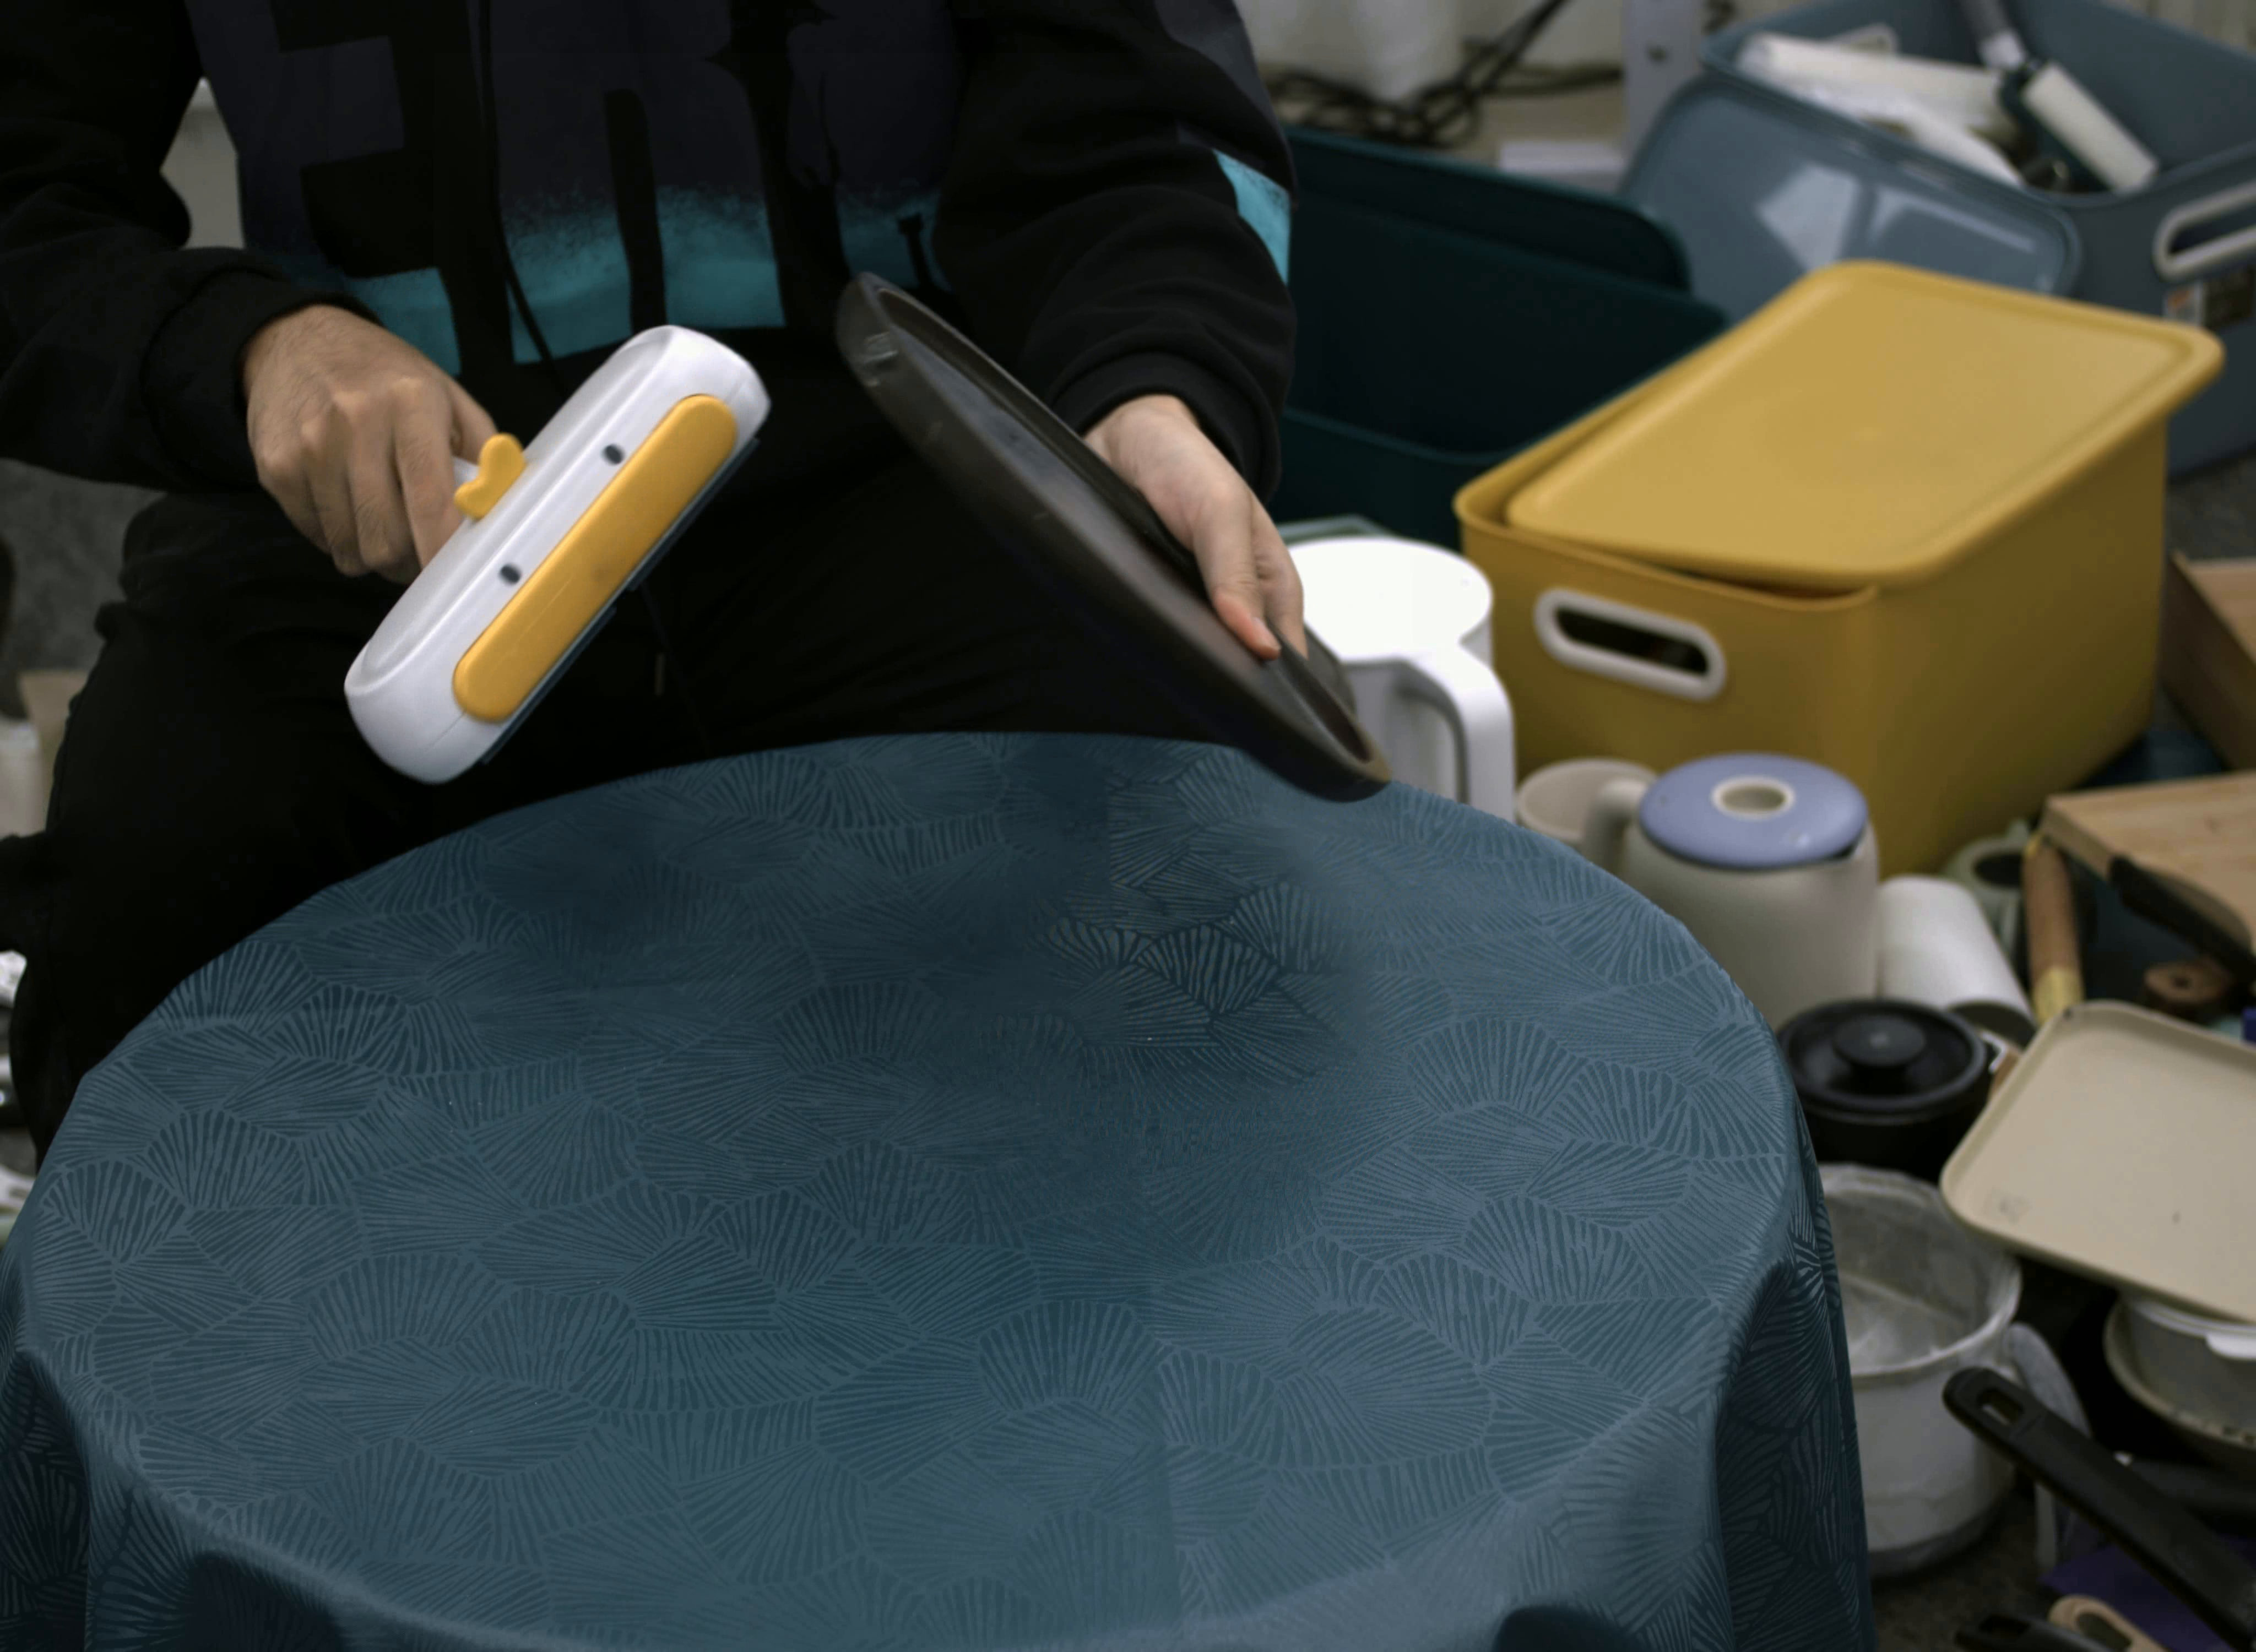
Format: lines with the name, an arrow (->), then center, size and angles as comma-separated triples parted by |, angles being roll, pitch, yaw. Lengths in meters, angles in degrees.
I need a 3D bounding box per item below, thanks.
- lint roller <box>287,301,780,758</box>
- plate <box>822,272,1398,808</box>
lint roller -> -0.236, -0.115, 2.039 | 0.191, 0.073, 0.195 | 7, 57, 52
plate -> -0.010, -0.095, 1.926 | 0.029, 0.253, 0.257 | -47, 30, 8
